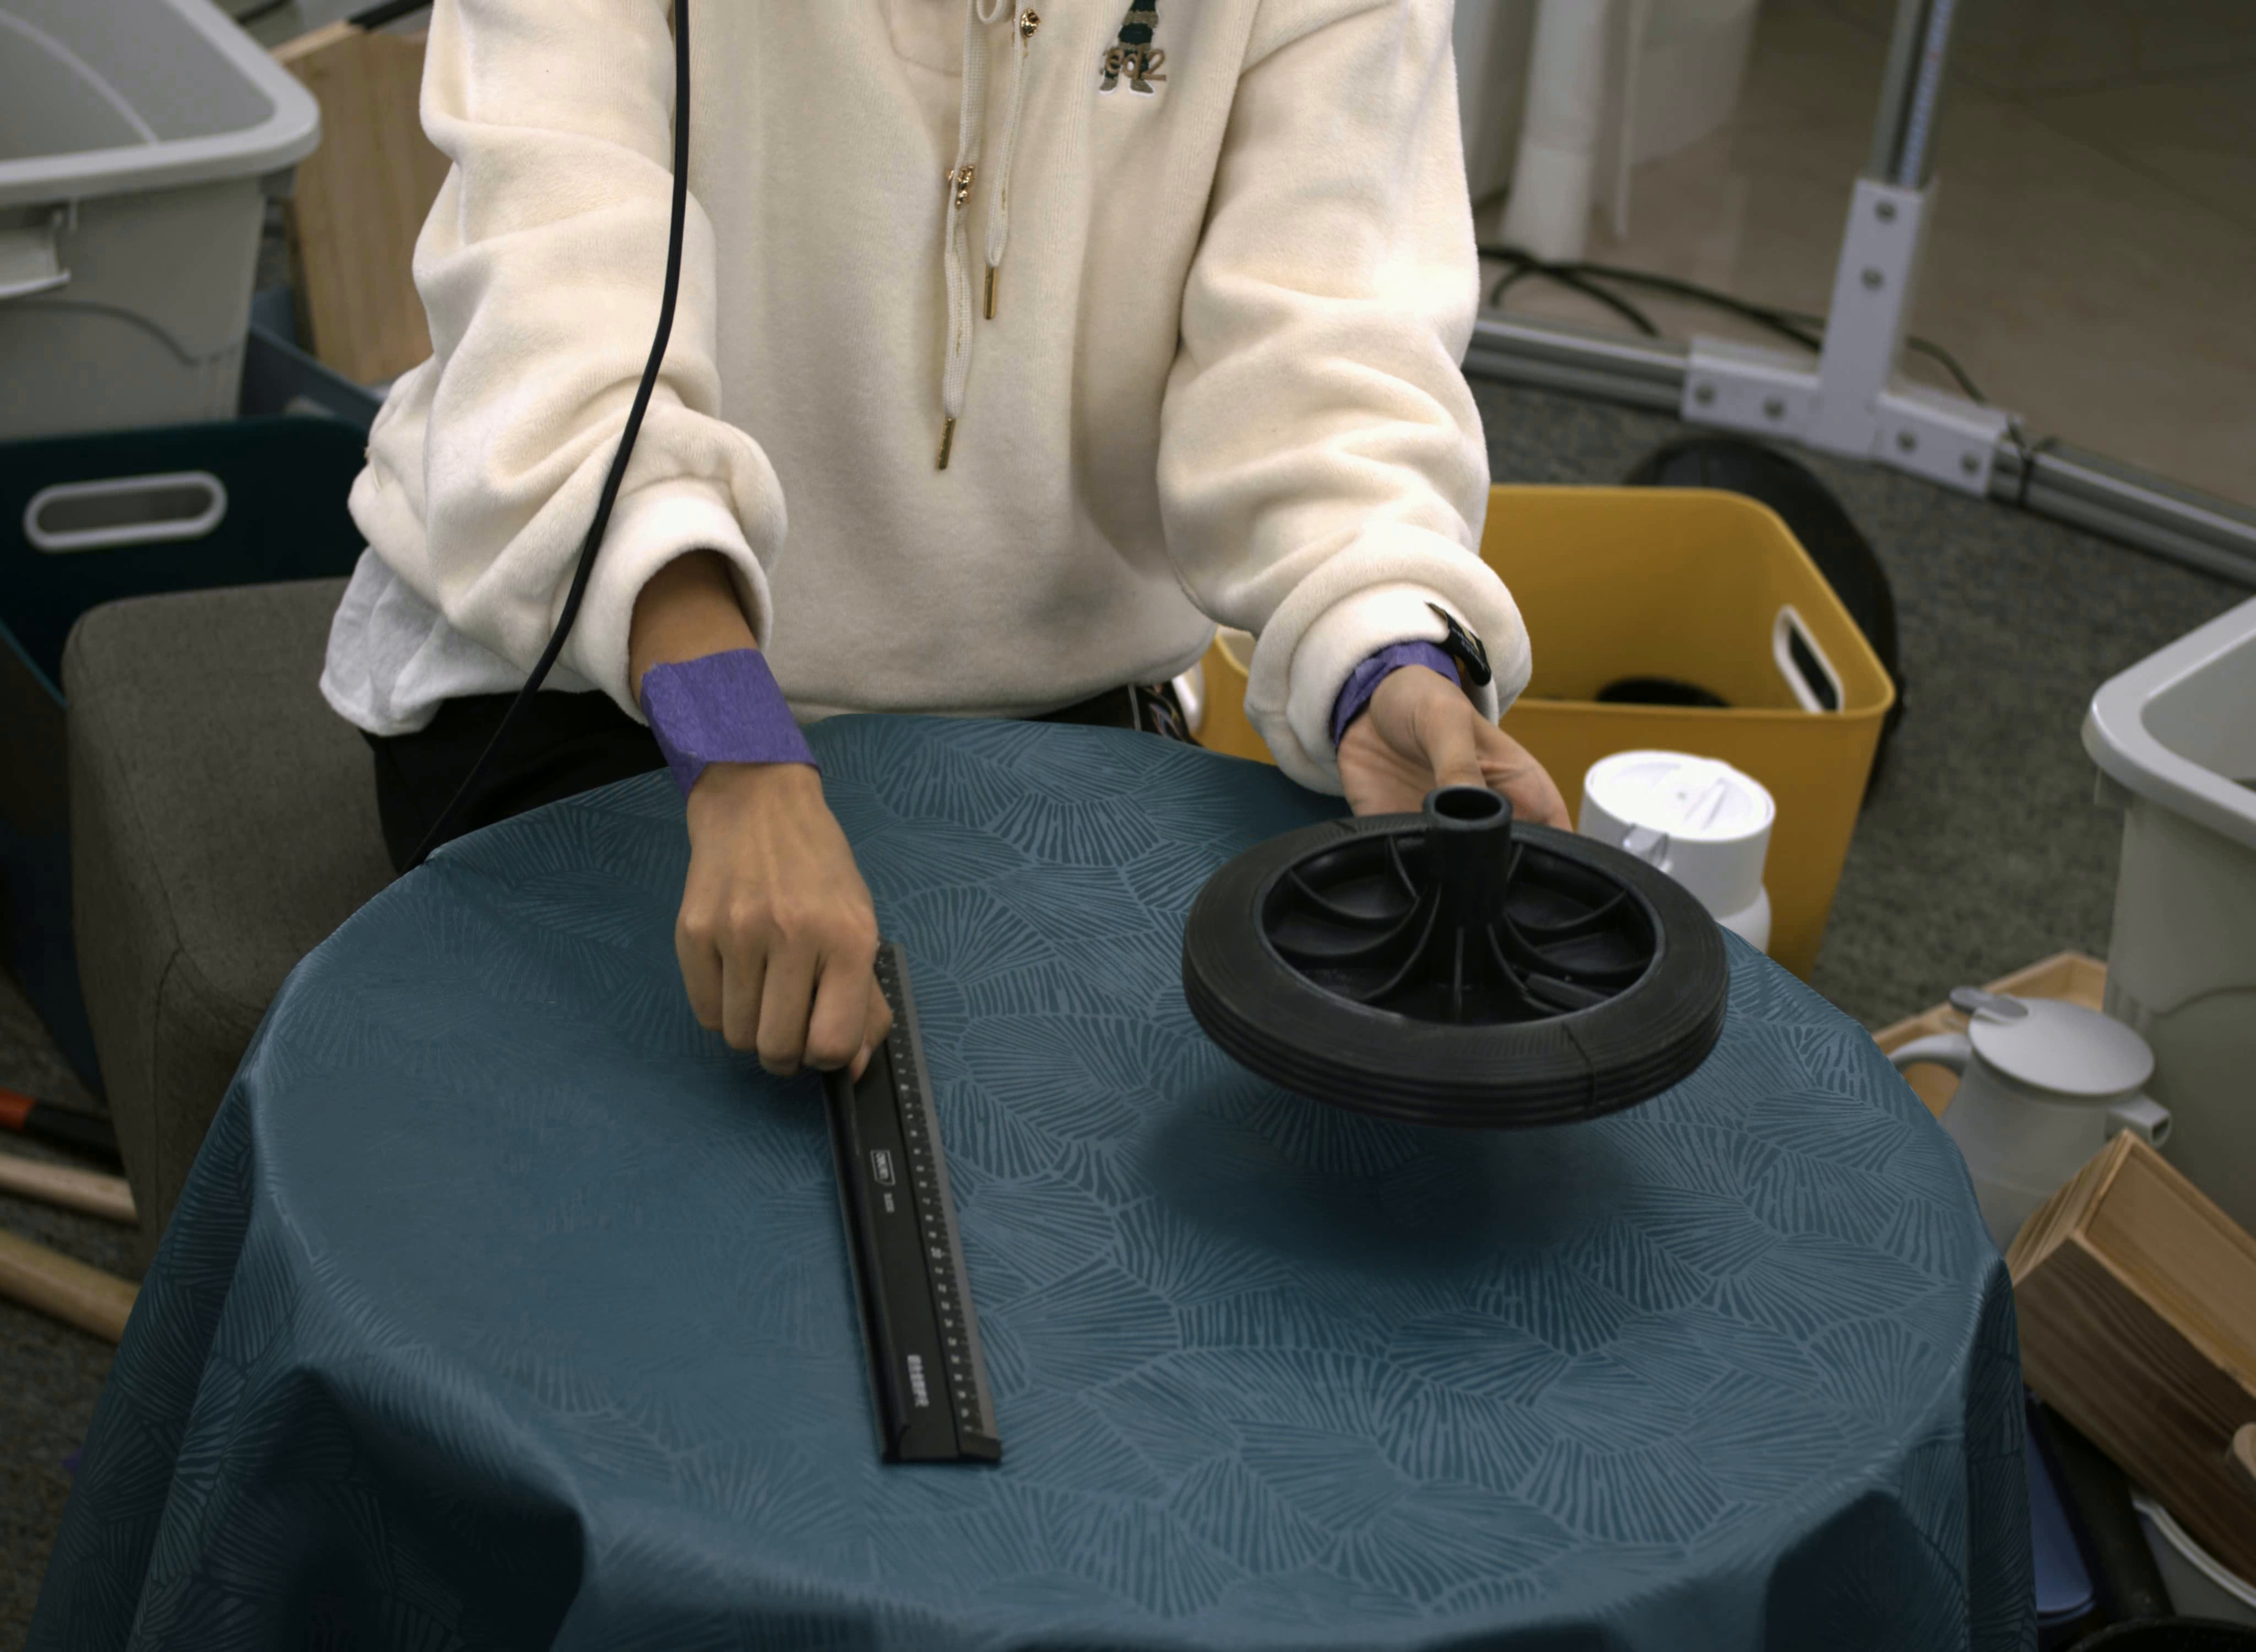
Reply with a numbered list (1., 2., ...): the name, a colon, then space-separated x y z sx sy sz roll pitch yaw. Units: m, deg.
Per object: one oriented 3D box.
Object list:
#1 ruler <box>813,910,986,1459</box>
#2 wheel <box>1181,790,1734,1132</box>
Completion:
1. ruler: -0.077 0.113 1.773 0.039 0.017 0.315 3 29 -9
2. wheel: 0.114 0.029 1.814 0.190 0.079 0.188 7 29 8
